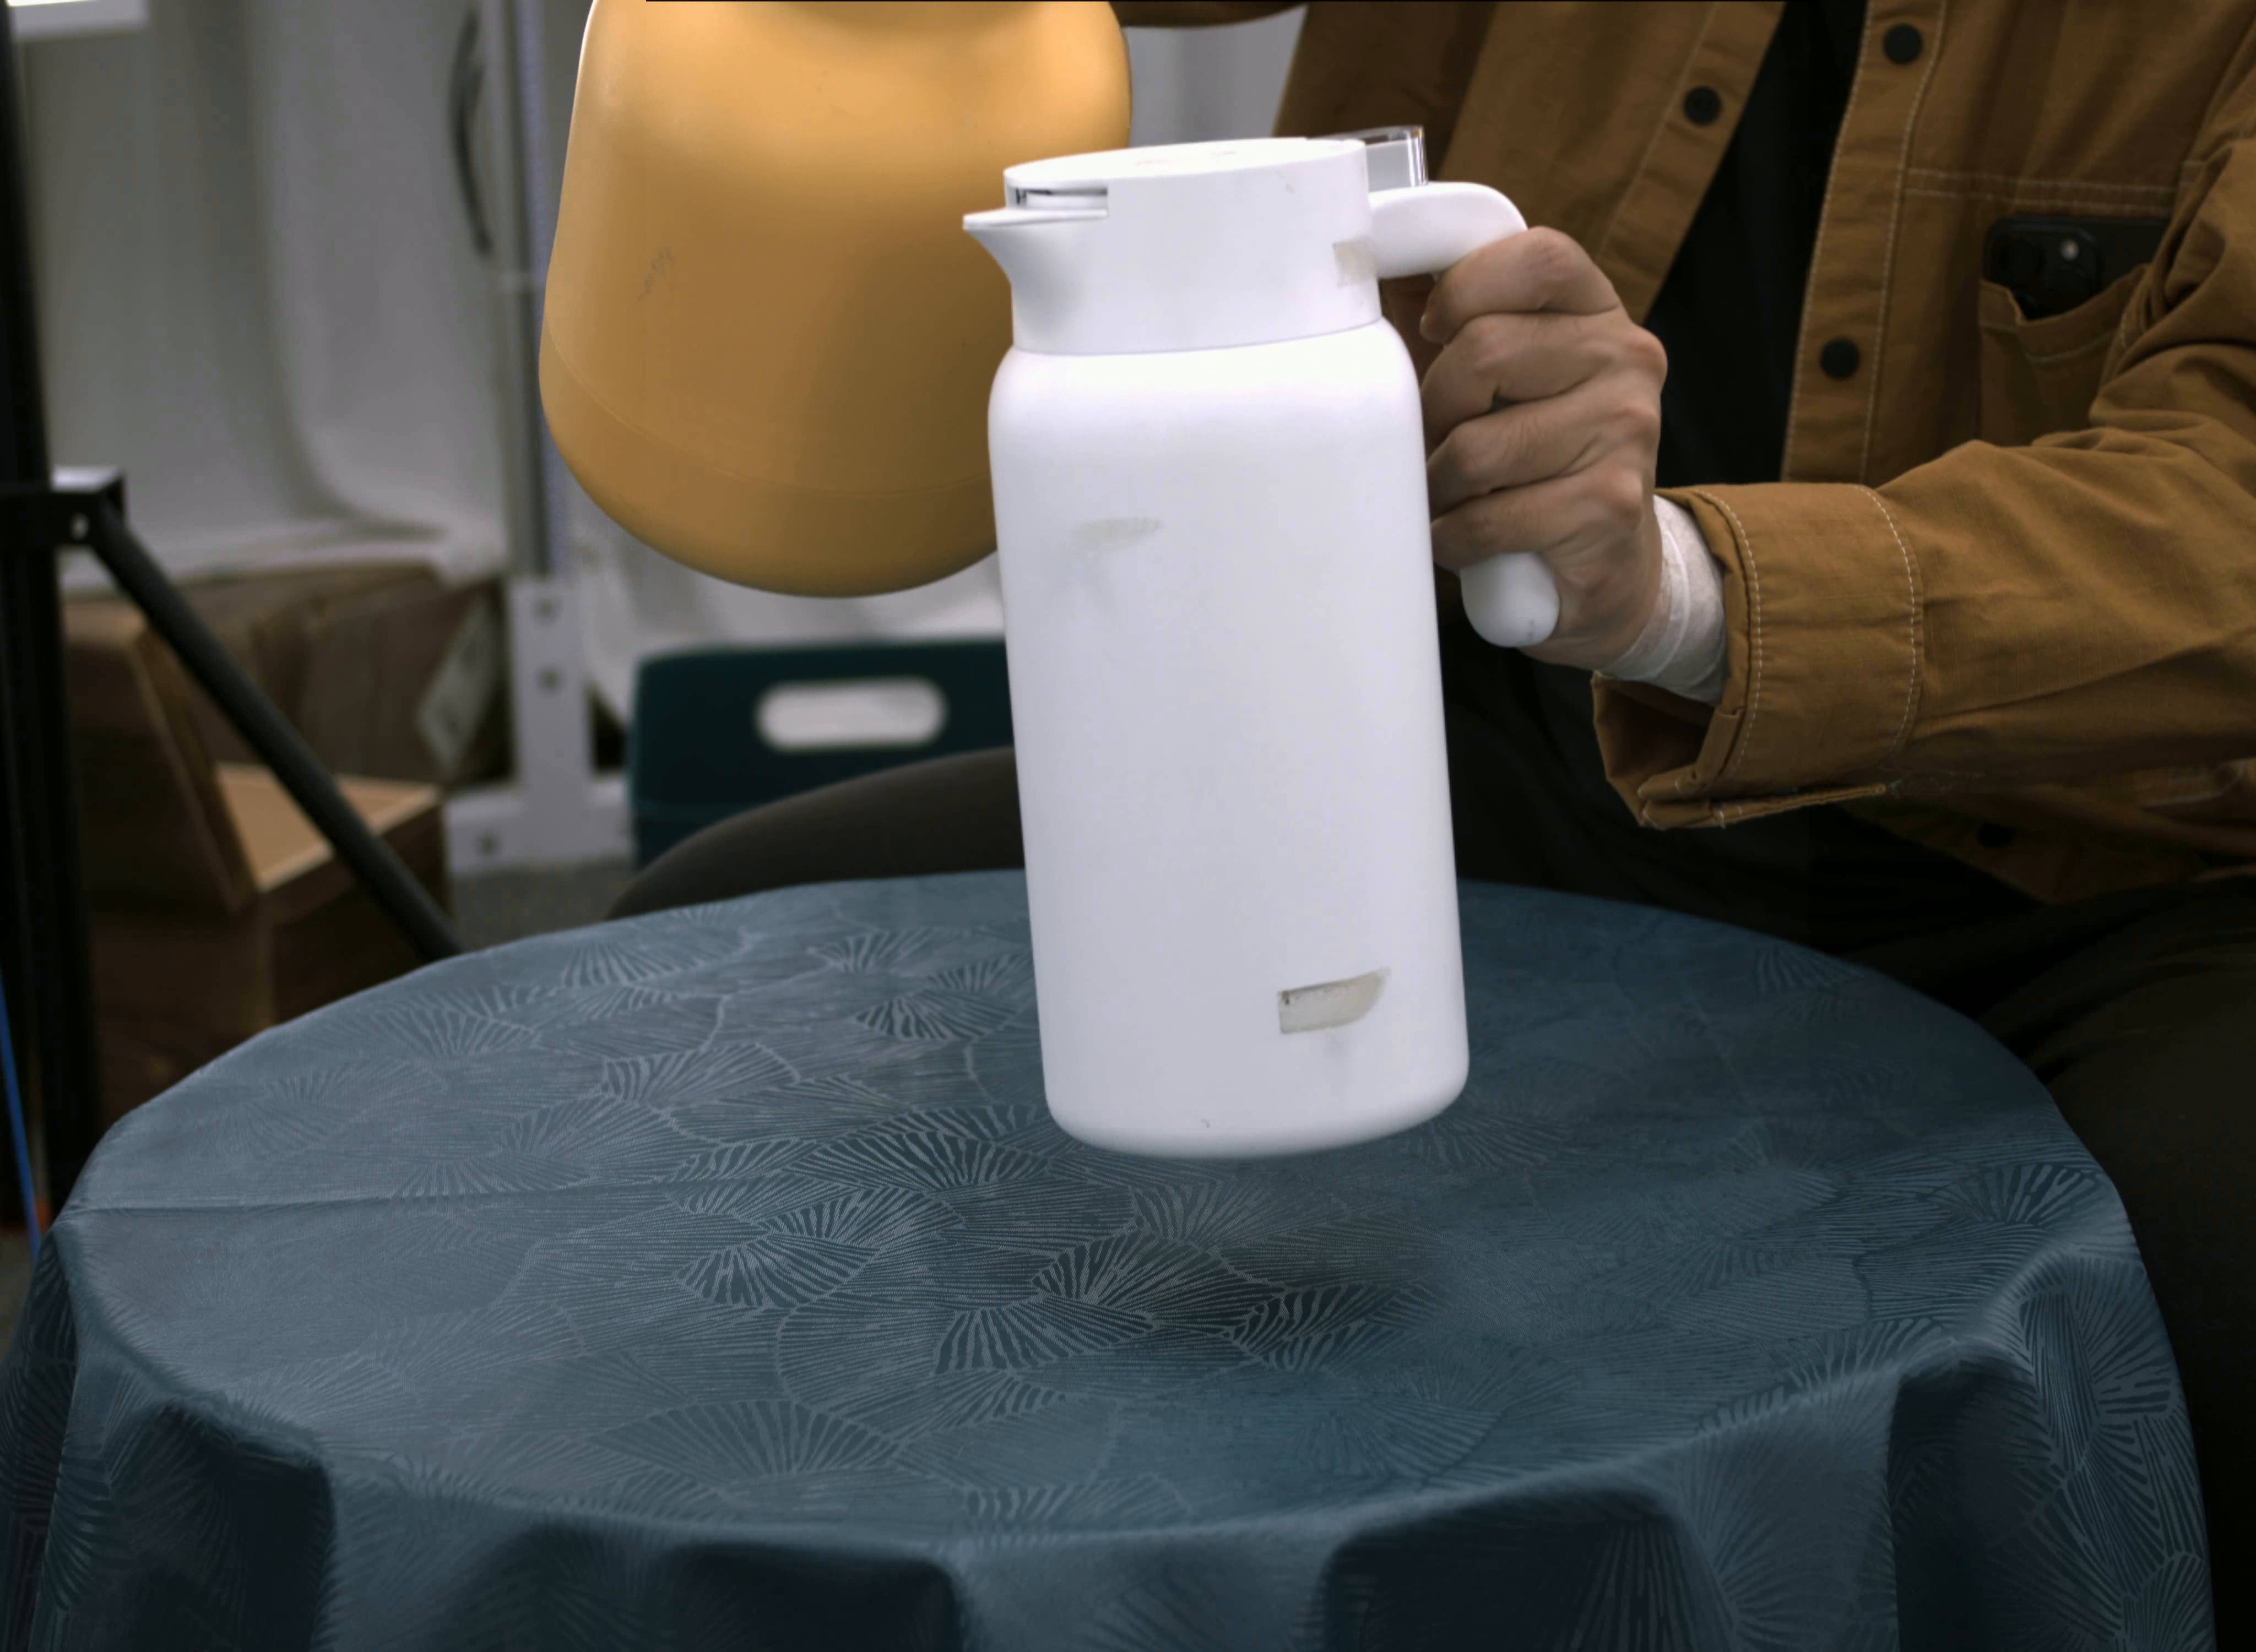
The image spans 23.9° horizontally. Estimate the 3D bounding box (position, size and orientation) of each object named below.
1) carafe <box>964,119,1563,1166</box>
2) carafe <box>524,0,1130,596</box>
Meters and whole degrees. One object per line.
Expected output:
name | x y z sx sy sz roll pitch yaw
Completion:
carafe | 0.040 -0.053 1.439 0.169 0.269 0.126 -10 10 -30
carafe | -0.090 -0.217 1.558 0.160 0.260 0.206 -12 47 -30
